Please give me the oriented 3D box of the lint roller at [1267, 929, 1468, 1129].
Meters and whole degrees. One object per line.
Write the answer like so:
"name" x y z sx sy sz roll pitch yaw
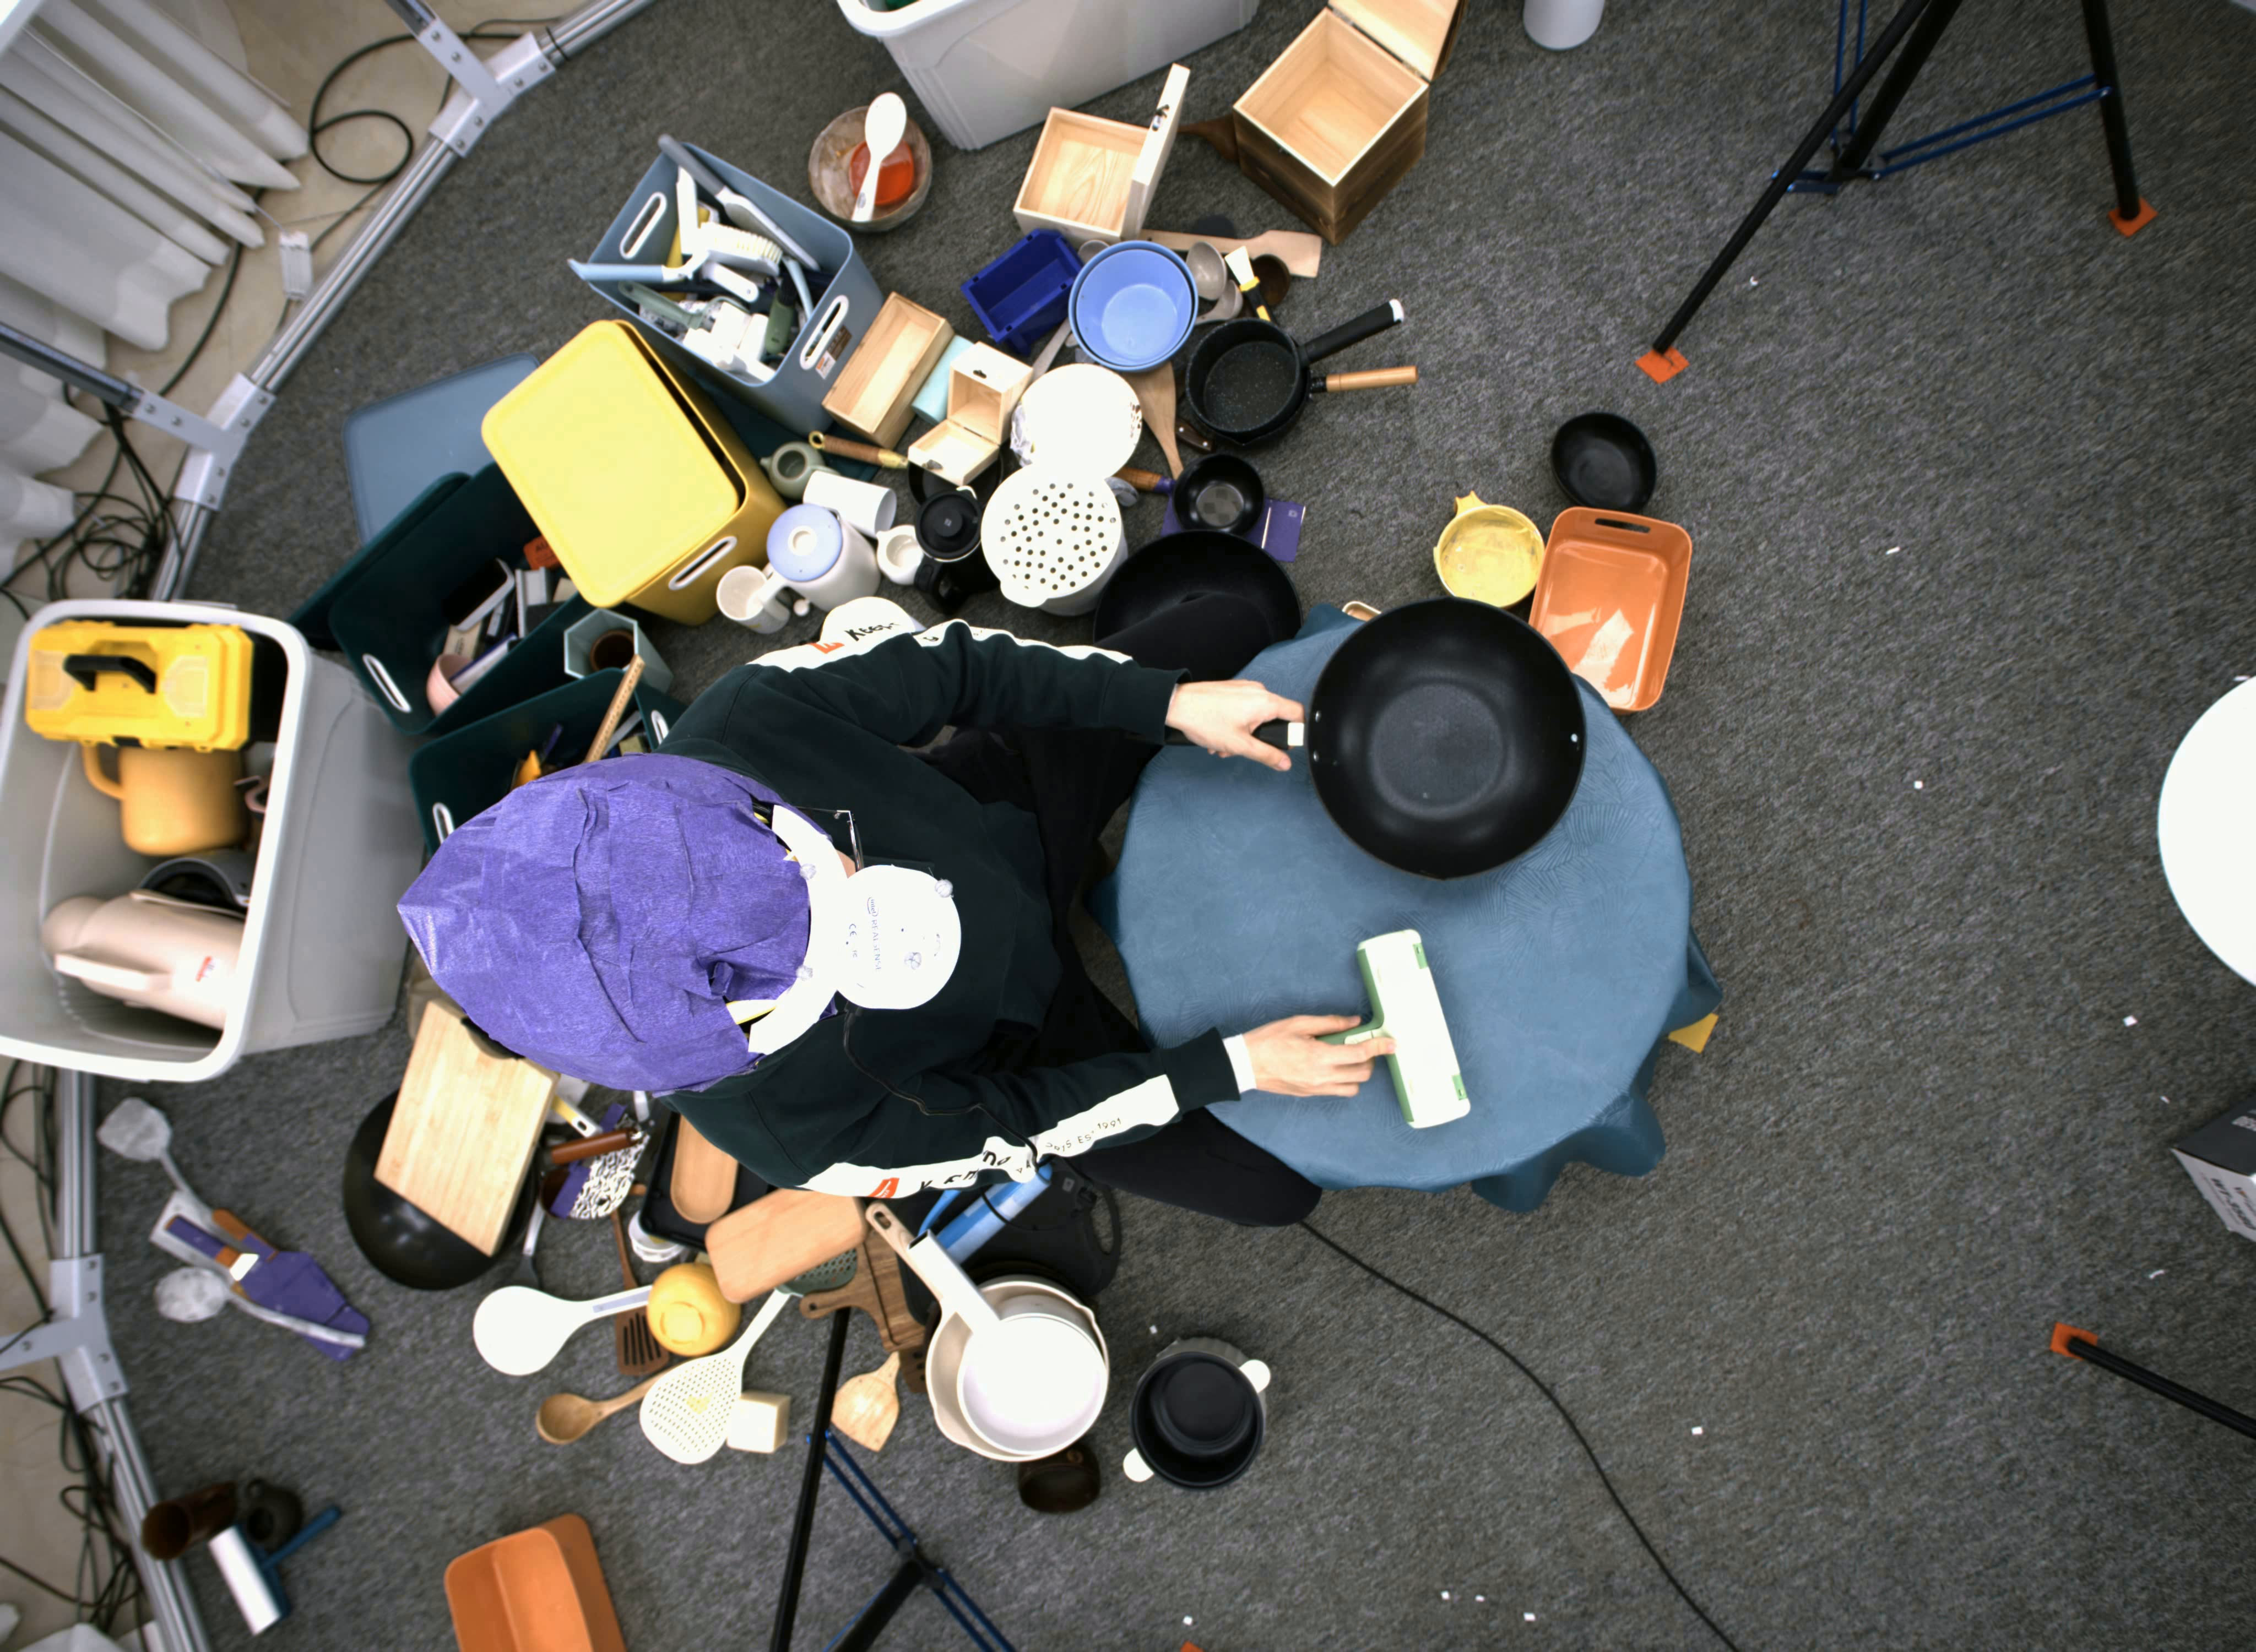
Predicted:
"lint roller" 0.230 0.218 1.400 0.184 0.082 0.197 -16 84 5

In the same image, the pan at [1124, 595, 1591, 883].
"pan" 0.230 -0.089 1.410 0.465 0.087 0.287 1 89 9
